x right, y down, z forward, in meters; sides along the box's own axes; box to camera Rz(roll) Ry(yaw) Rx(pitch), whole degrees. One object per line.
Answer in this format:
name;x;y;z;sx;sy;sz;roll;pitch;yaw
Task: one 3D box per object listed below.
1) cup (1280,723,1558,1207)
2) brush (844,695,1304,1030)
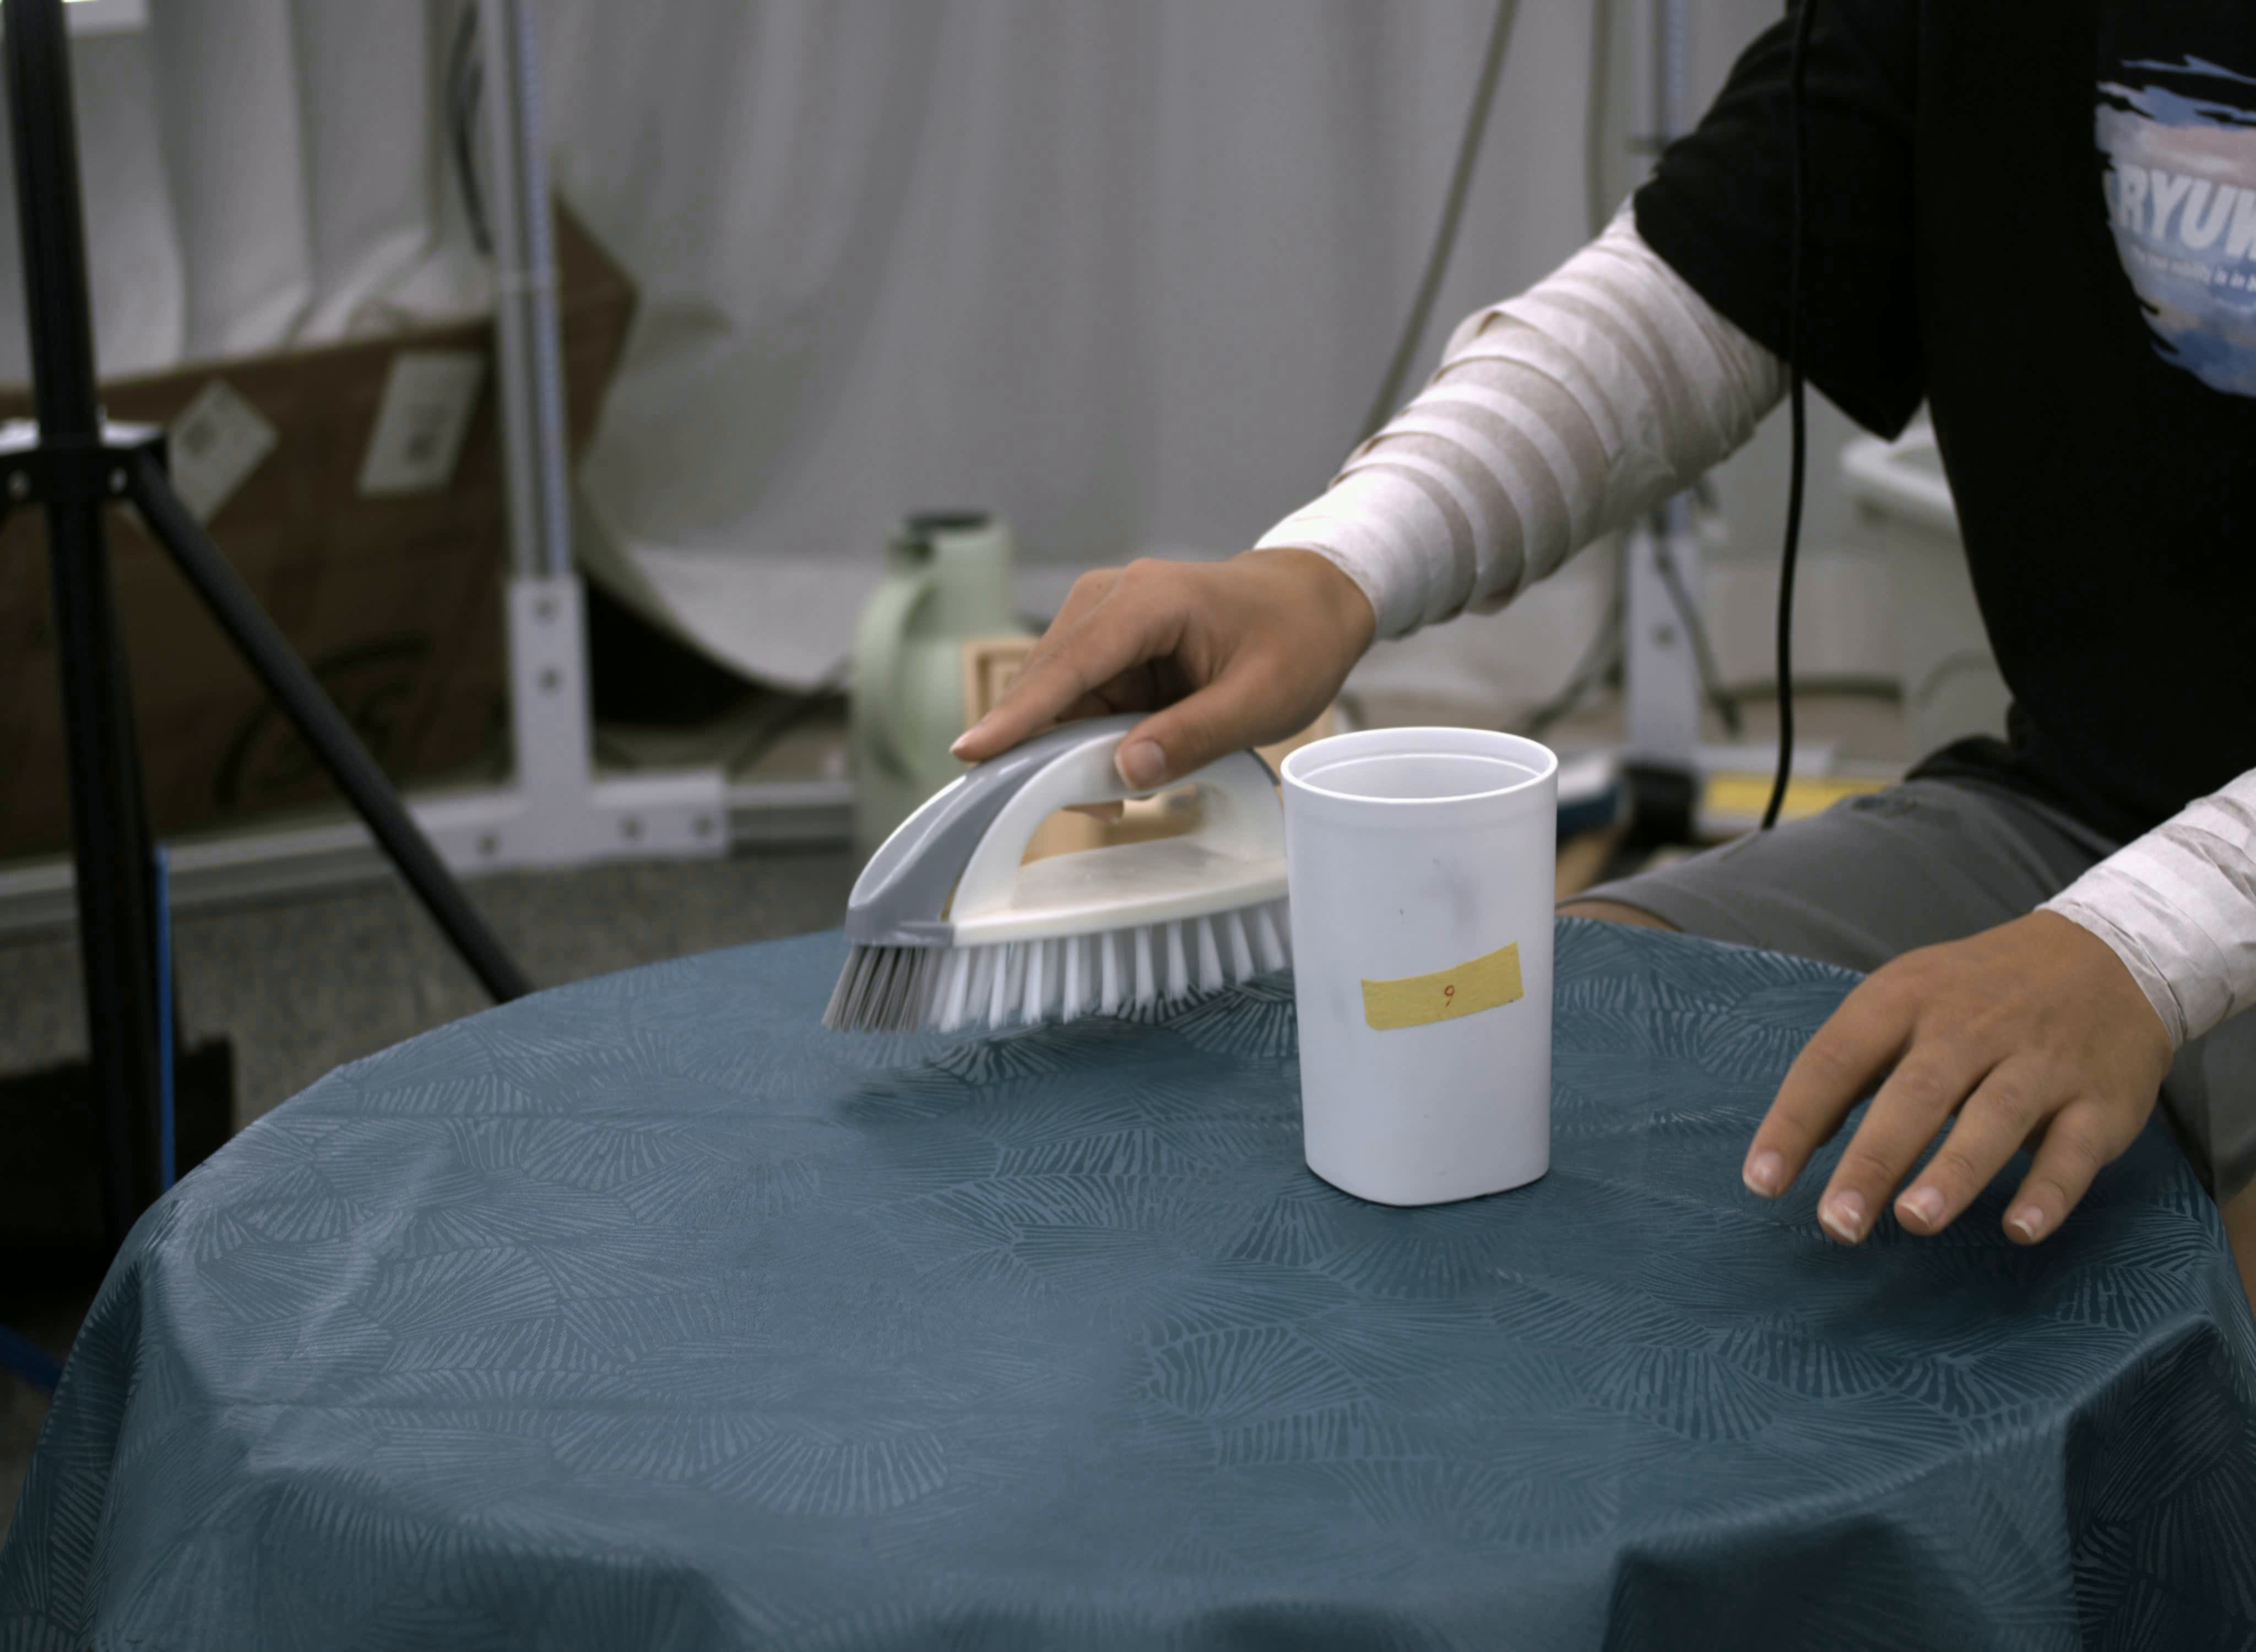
cup;0.088;0.041;1.552;0.081;0.125;0.082;-4;15;0
brush;-0.020;0.010;1.688;0.171;0.094;0.063;-11;14;-33
